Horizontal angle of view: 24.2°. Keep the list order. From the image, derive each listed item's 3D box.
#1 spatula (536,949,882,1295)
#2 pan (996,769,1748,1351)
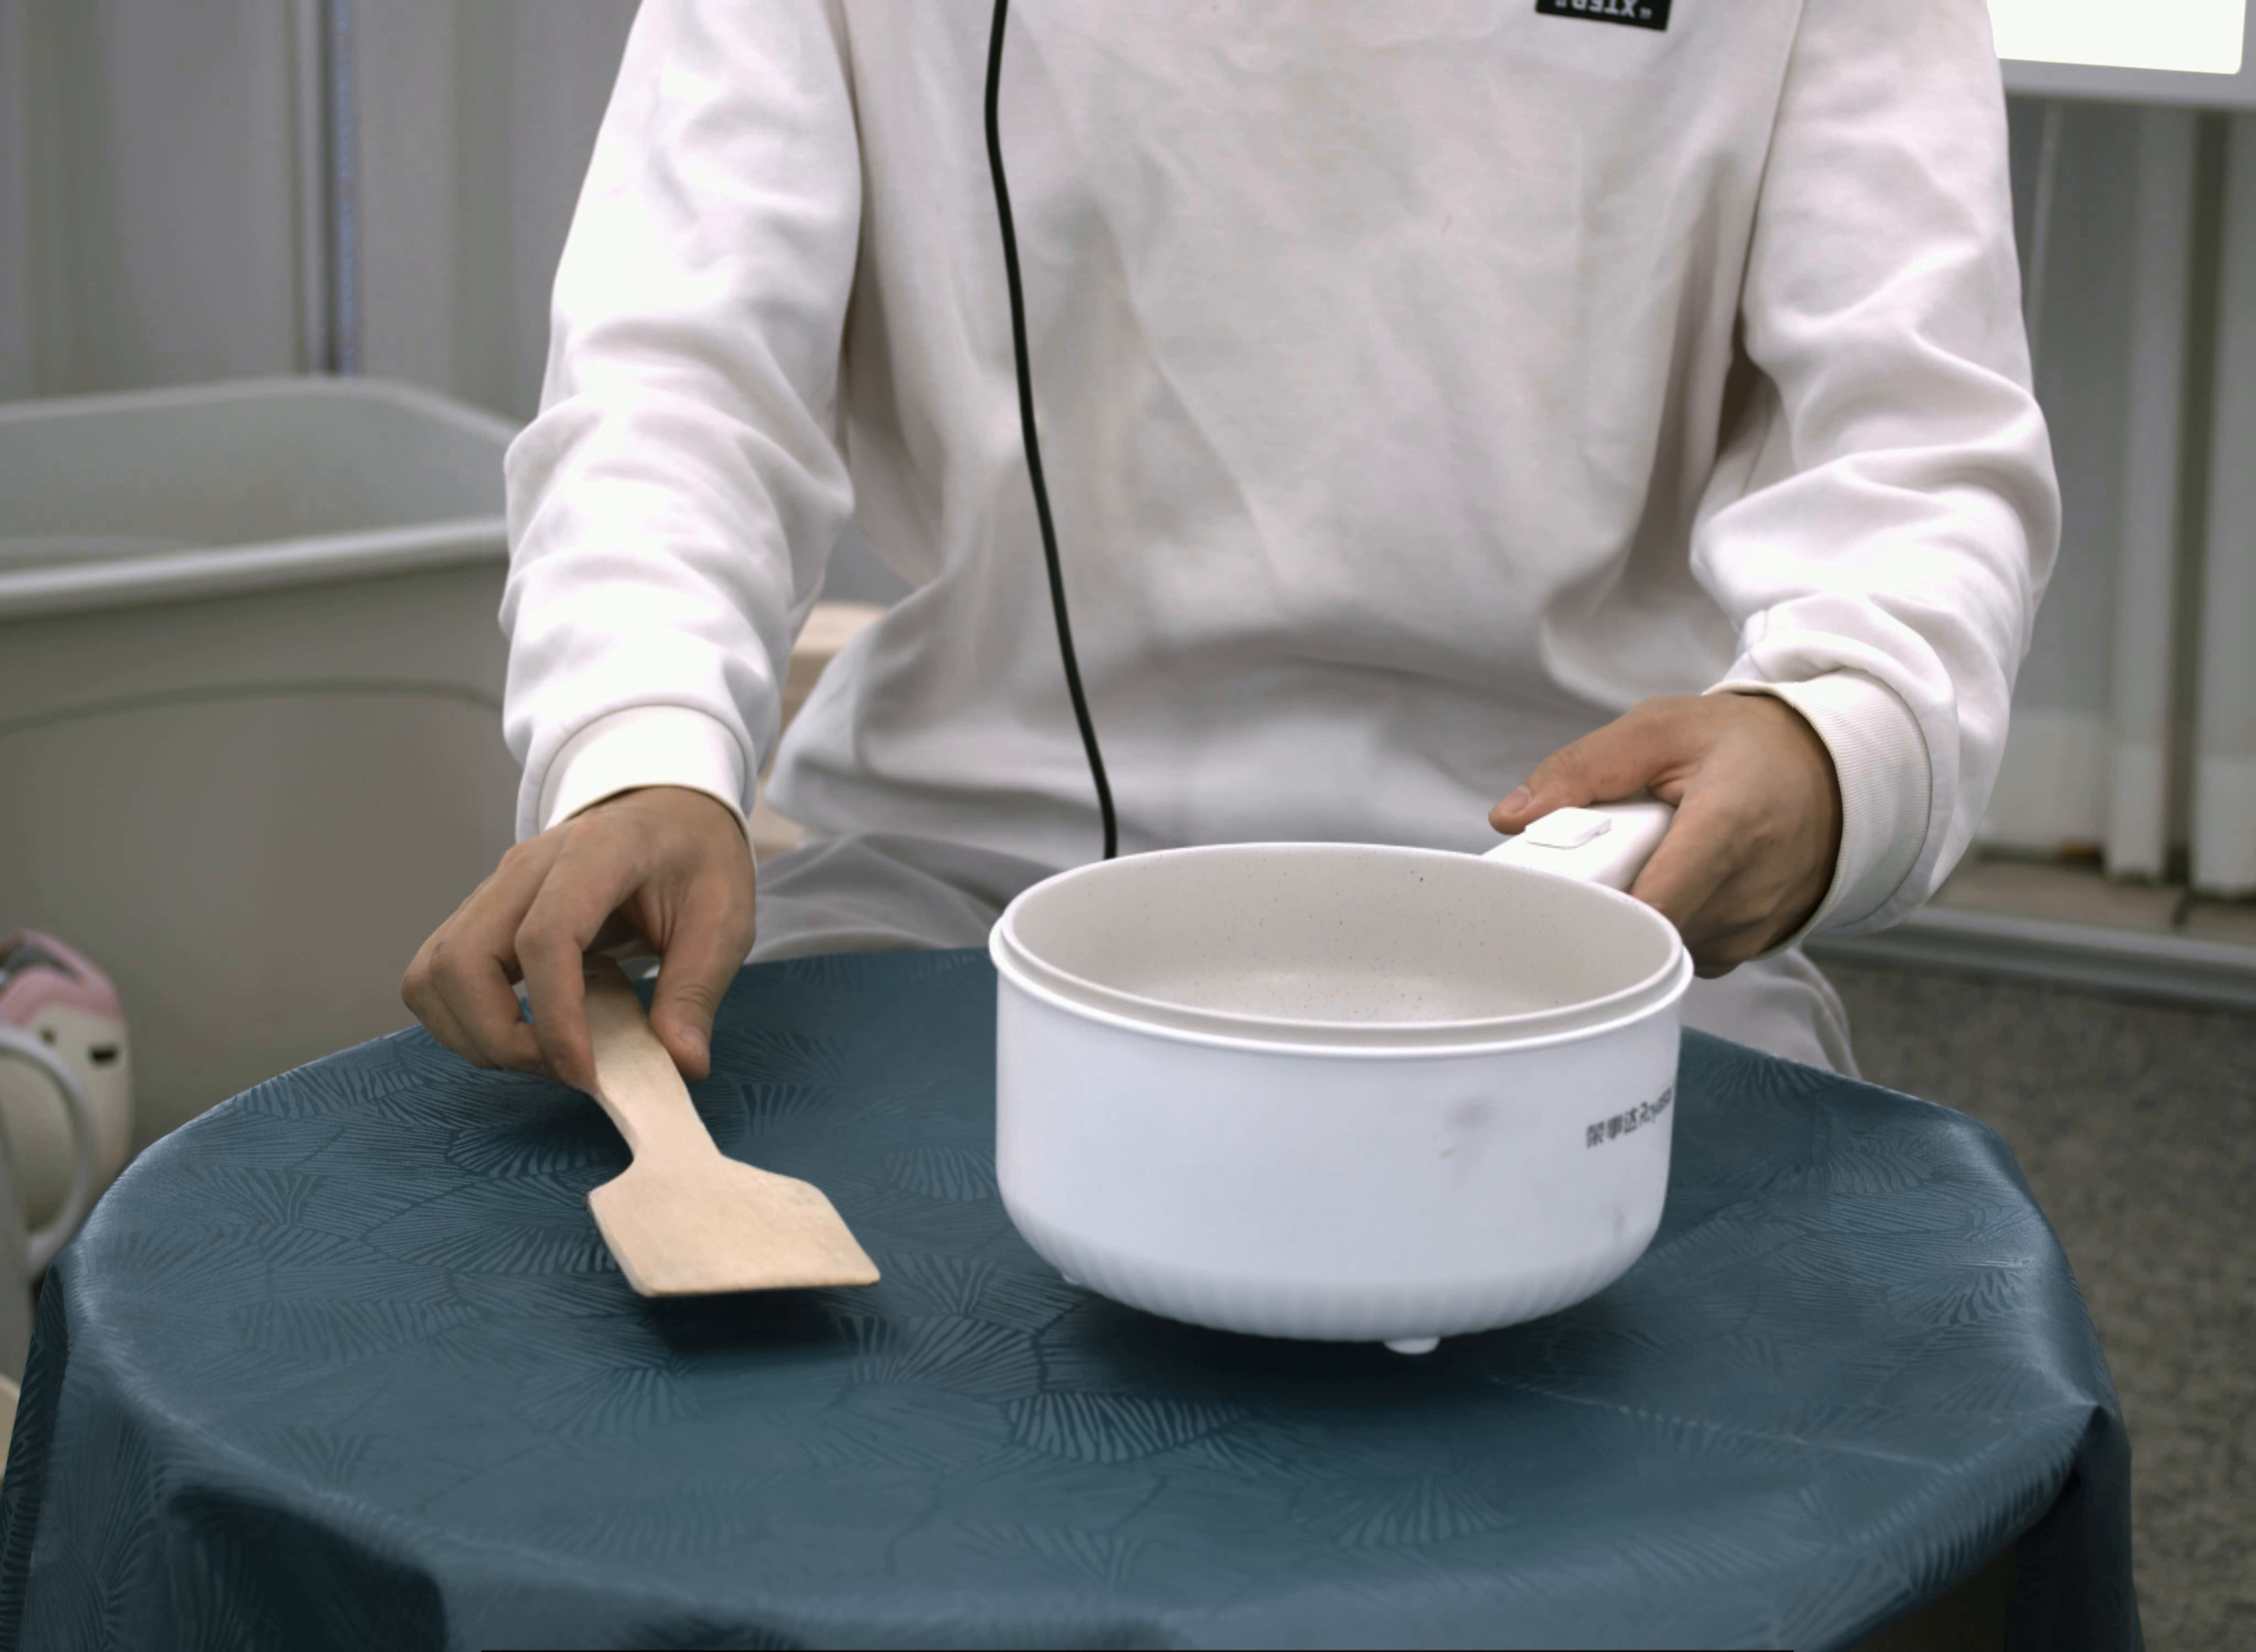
[{"bbox_3d":[-0.145,0.088,1.620,0.072,0.011,0.290,-2,19,-17],"label":"spatula"},{"bbox_3d":[0.097,0.062,1.580,0.199,0.103,0.356,9,15,27],"label":"pan"}]
